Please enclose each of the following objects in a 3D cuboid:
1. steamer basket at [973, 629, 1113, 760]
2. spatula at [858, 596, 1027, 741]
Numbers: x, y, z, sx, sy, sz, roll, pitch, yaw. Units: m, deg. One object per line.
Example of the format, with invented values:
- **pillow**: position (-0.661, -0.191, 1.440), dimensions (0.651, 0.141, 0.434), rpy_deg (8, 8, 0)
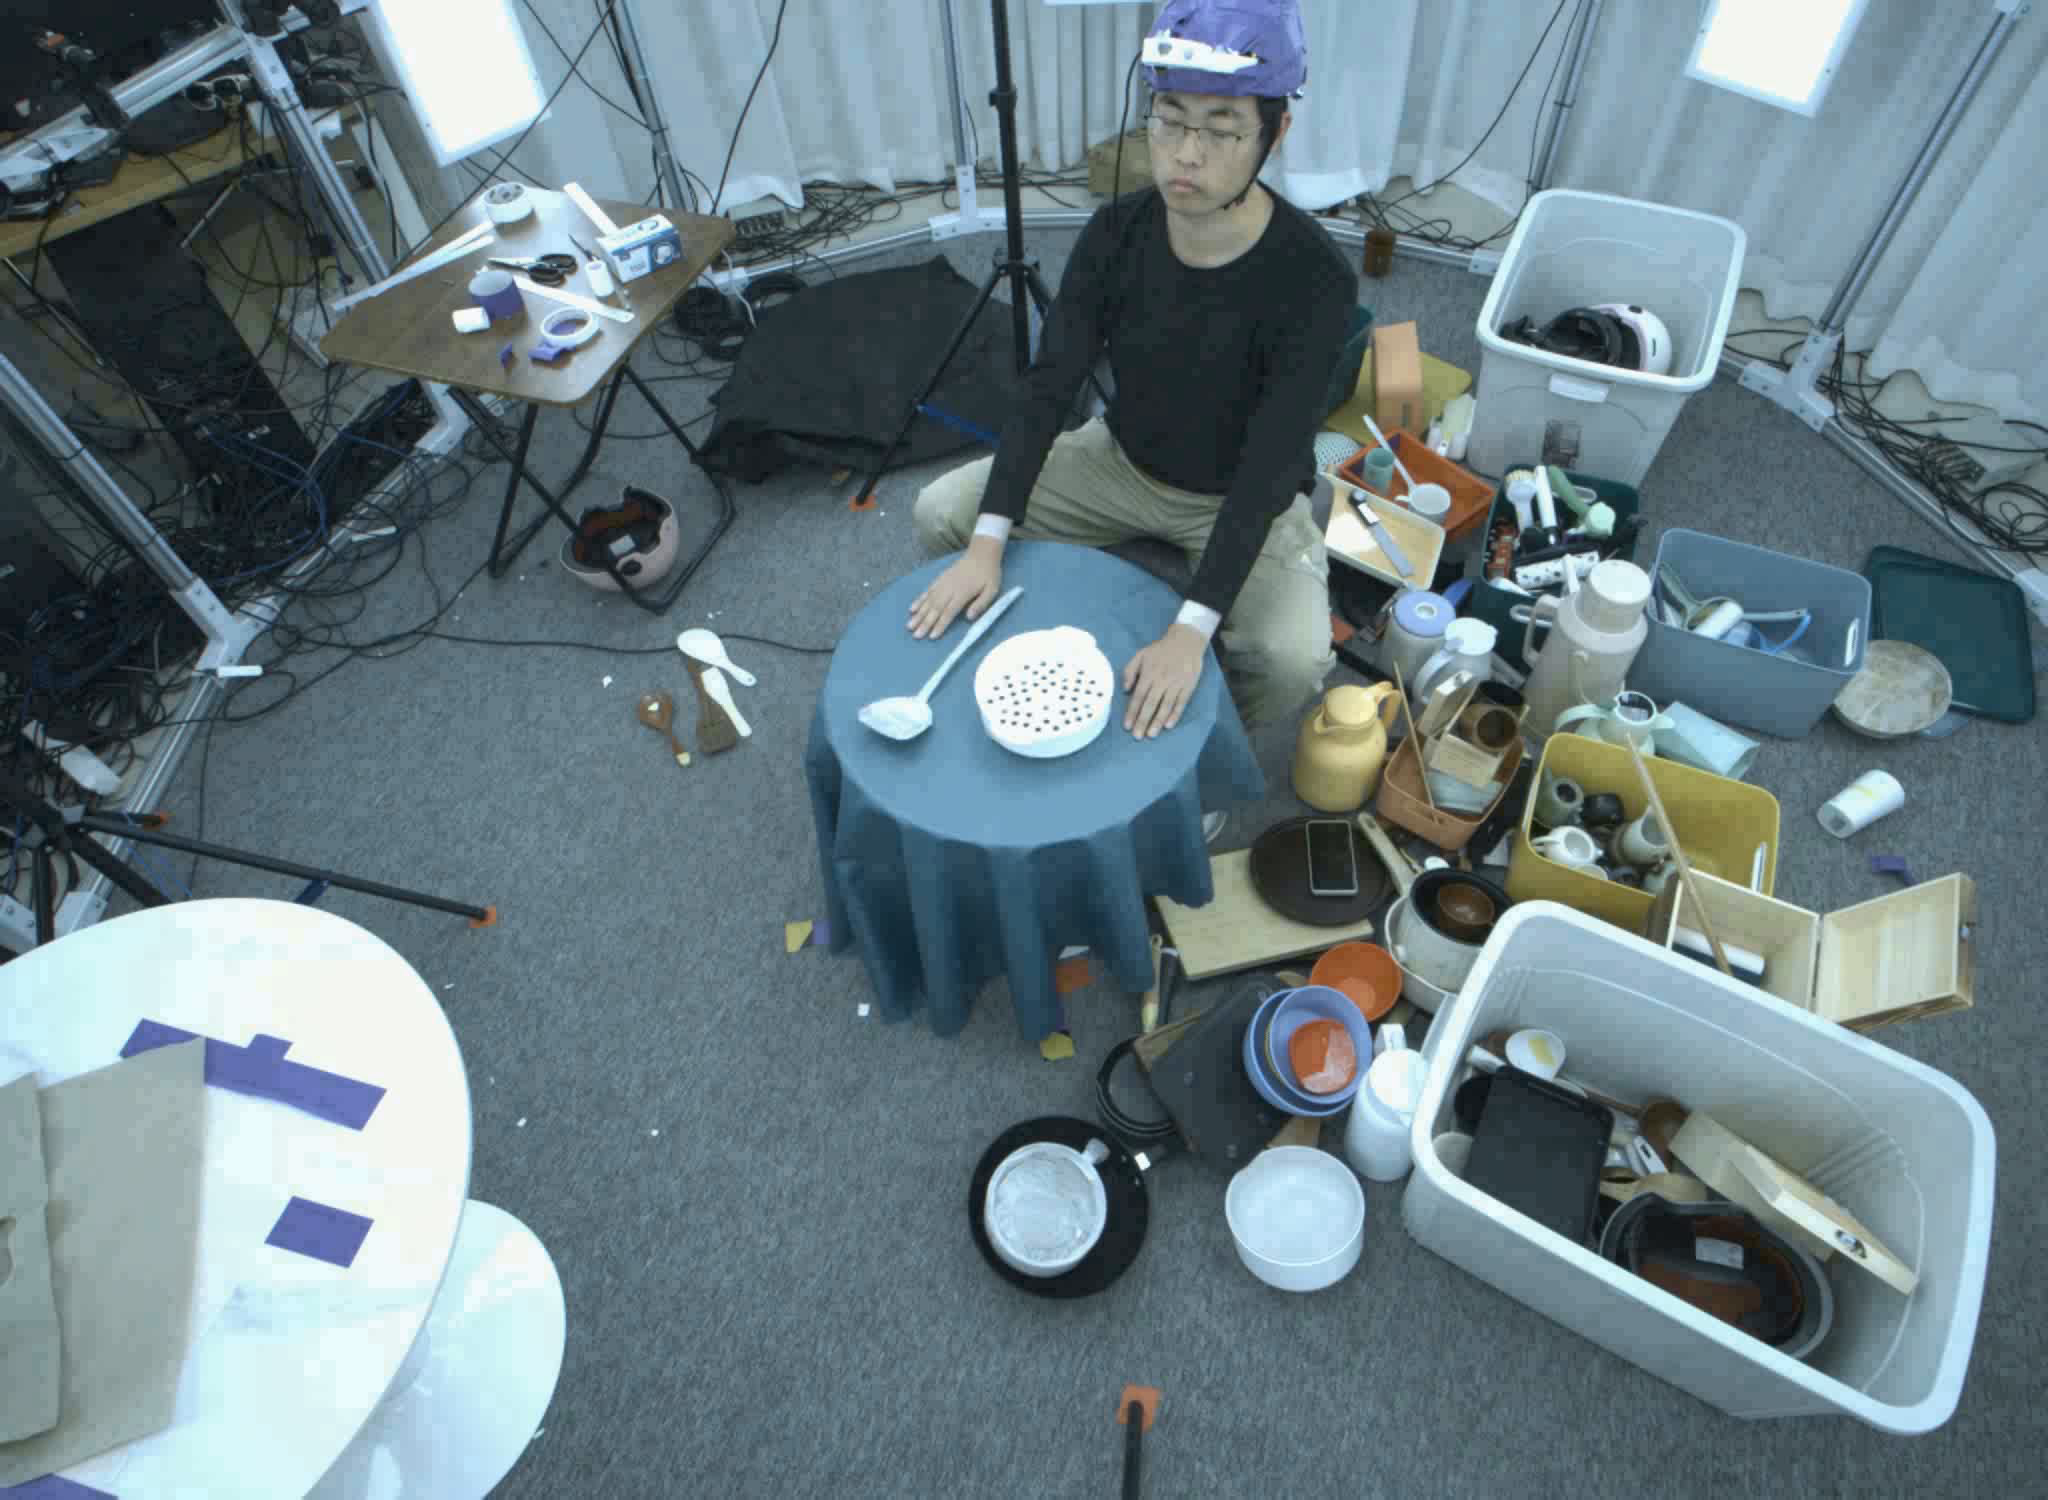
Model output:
- **steamer basket**: position (0.028, -0.077, 1.799), dimensions (0.199, 0.070, 0.231), rpy_deg (23, 58, 16)
- **spatula**: position (-0.109, -0.138, 1.866), dimensions (0.097, 0.045, 0.366), rpy_deg (27, 60, 22)
